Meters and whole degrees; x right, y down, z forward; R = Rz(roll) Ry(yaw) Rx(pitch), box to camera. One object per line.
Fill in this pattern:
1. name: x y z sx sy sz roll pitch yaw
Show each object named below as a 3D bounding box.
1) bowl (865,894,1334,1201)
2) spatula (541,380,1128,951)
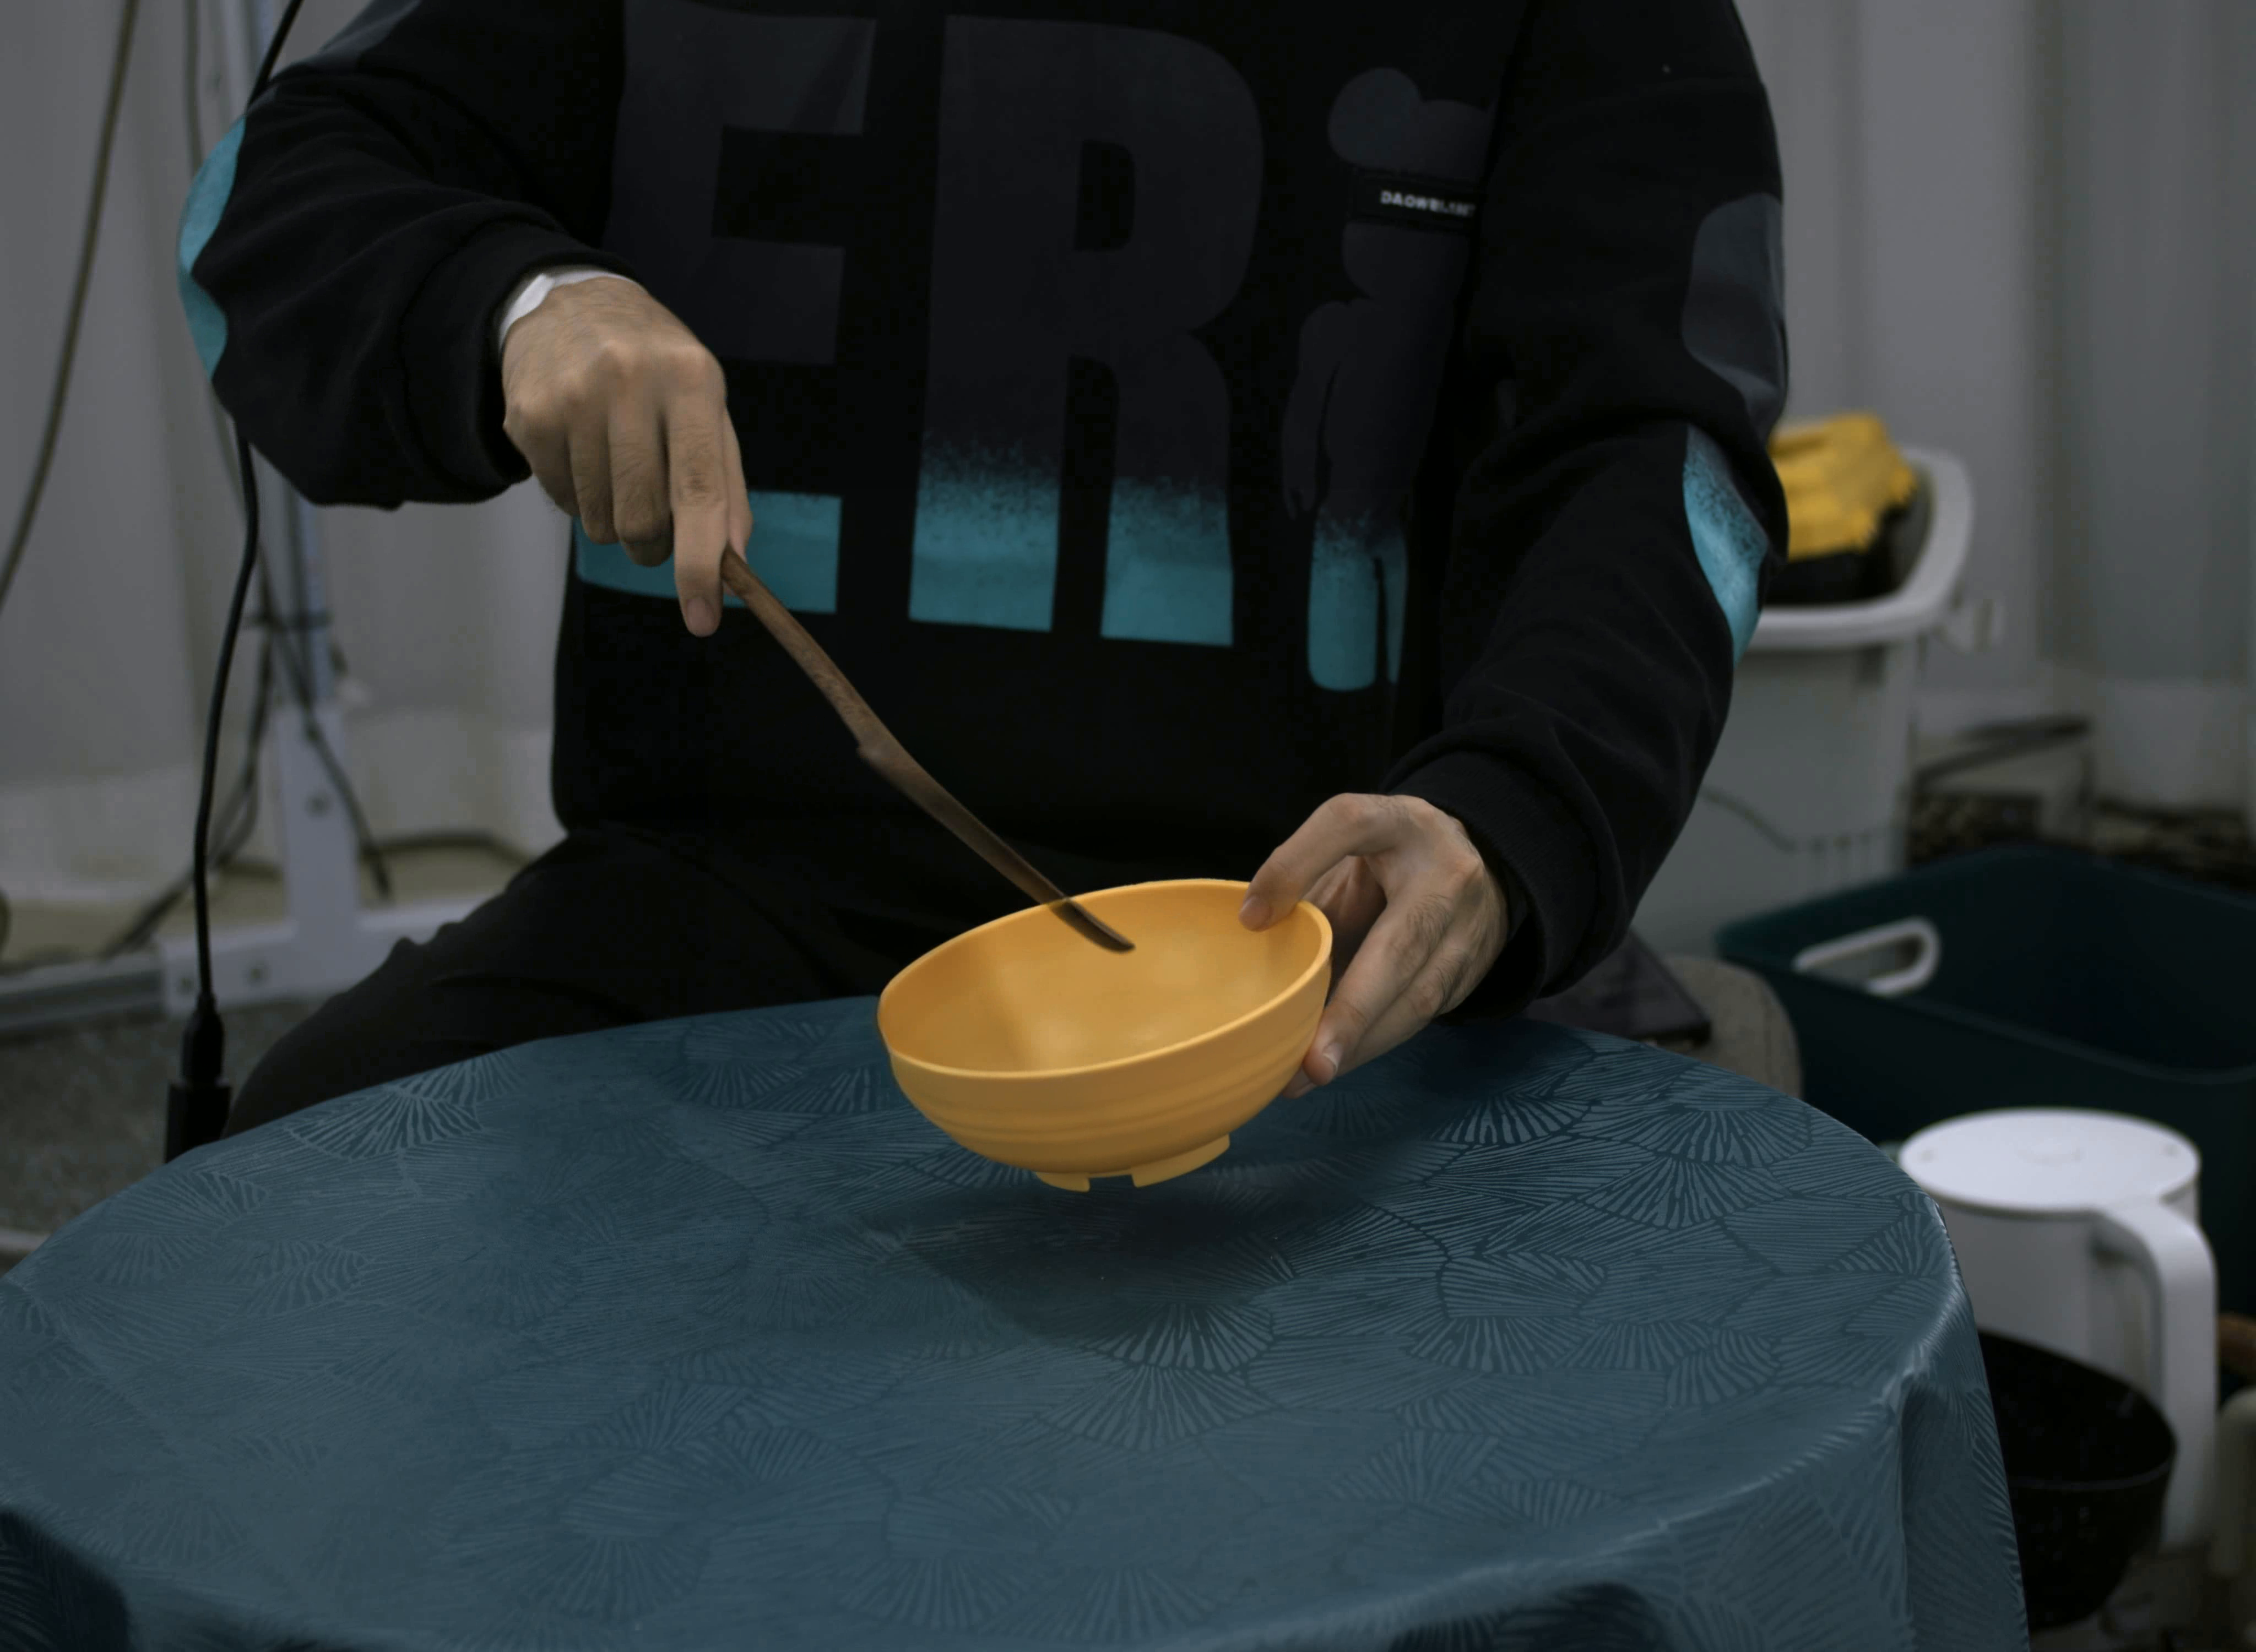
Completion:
1. bowl: -0.005 0.075 1.675 0.145 0.060 0.146 -8 19 2
2. spatula: -0.111 -0.064 1.769 0.095 0.016 0.391 37 5 -39
